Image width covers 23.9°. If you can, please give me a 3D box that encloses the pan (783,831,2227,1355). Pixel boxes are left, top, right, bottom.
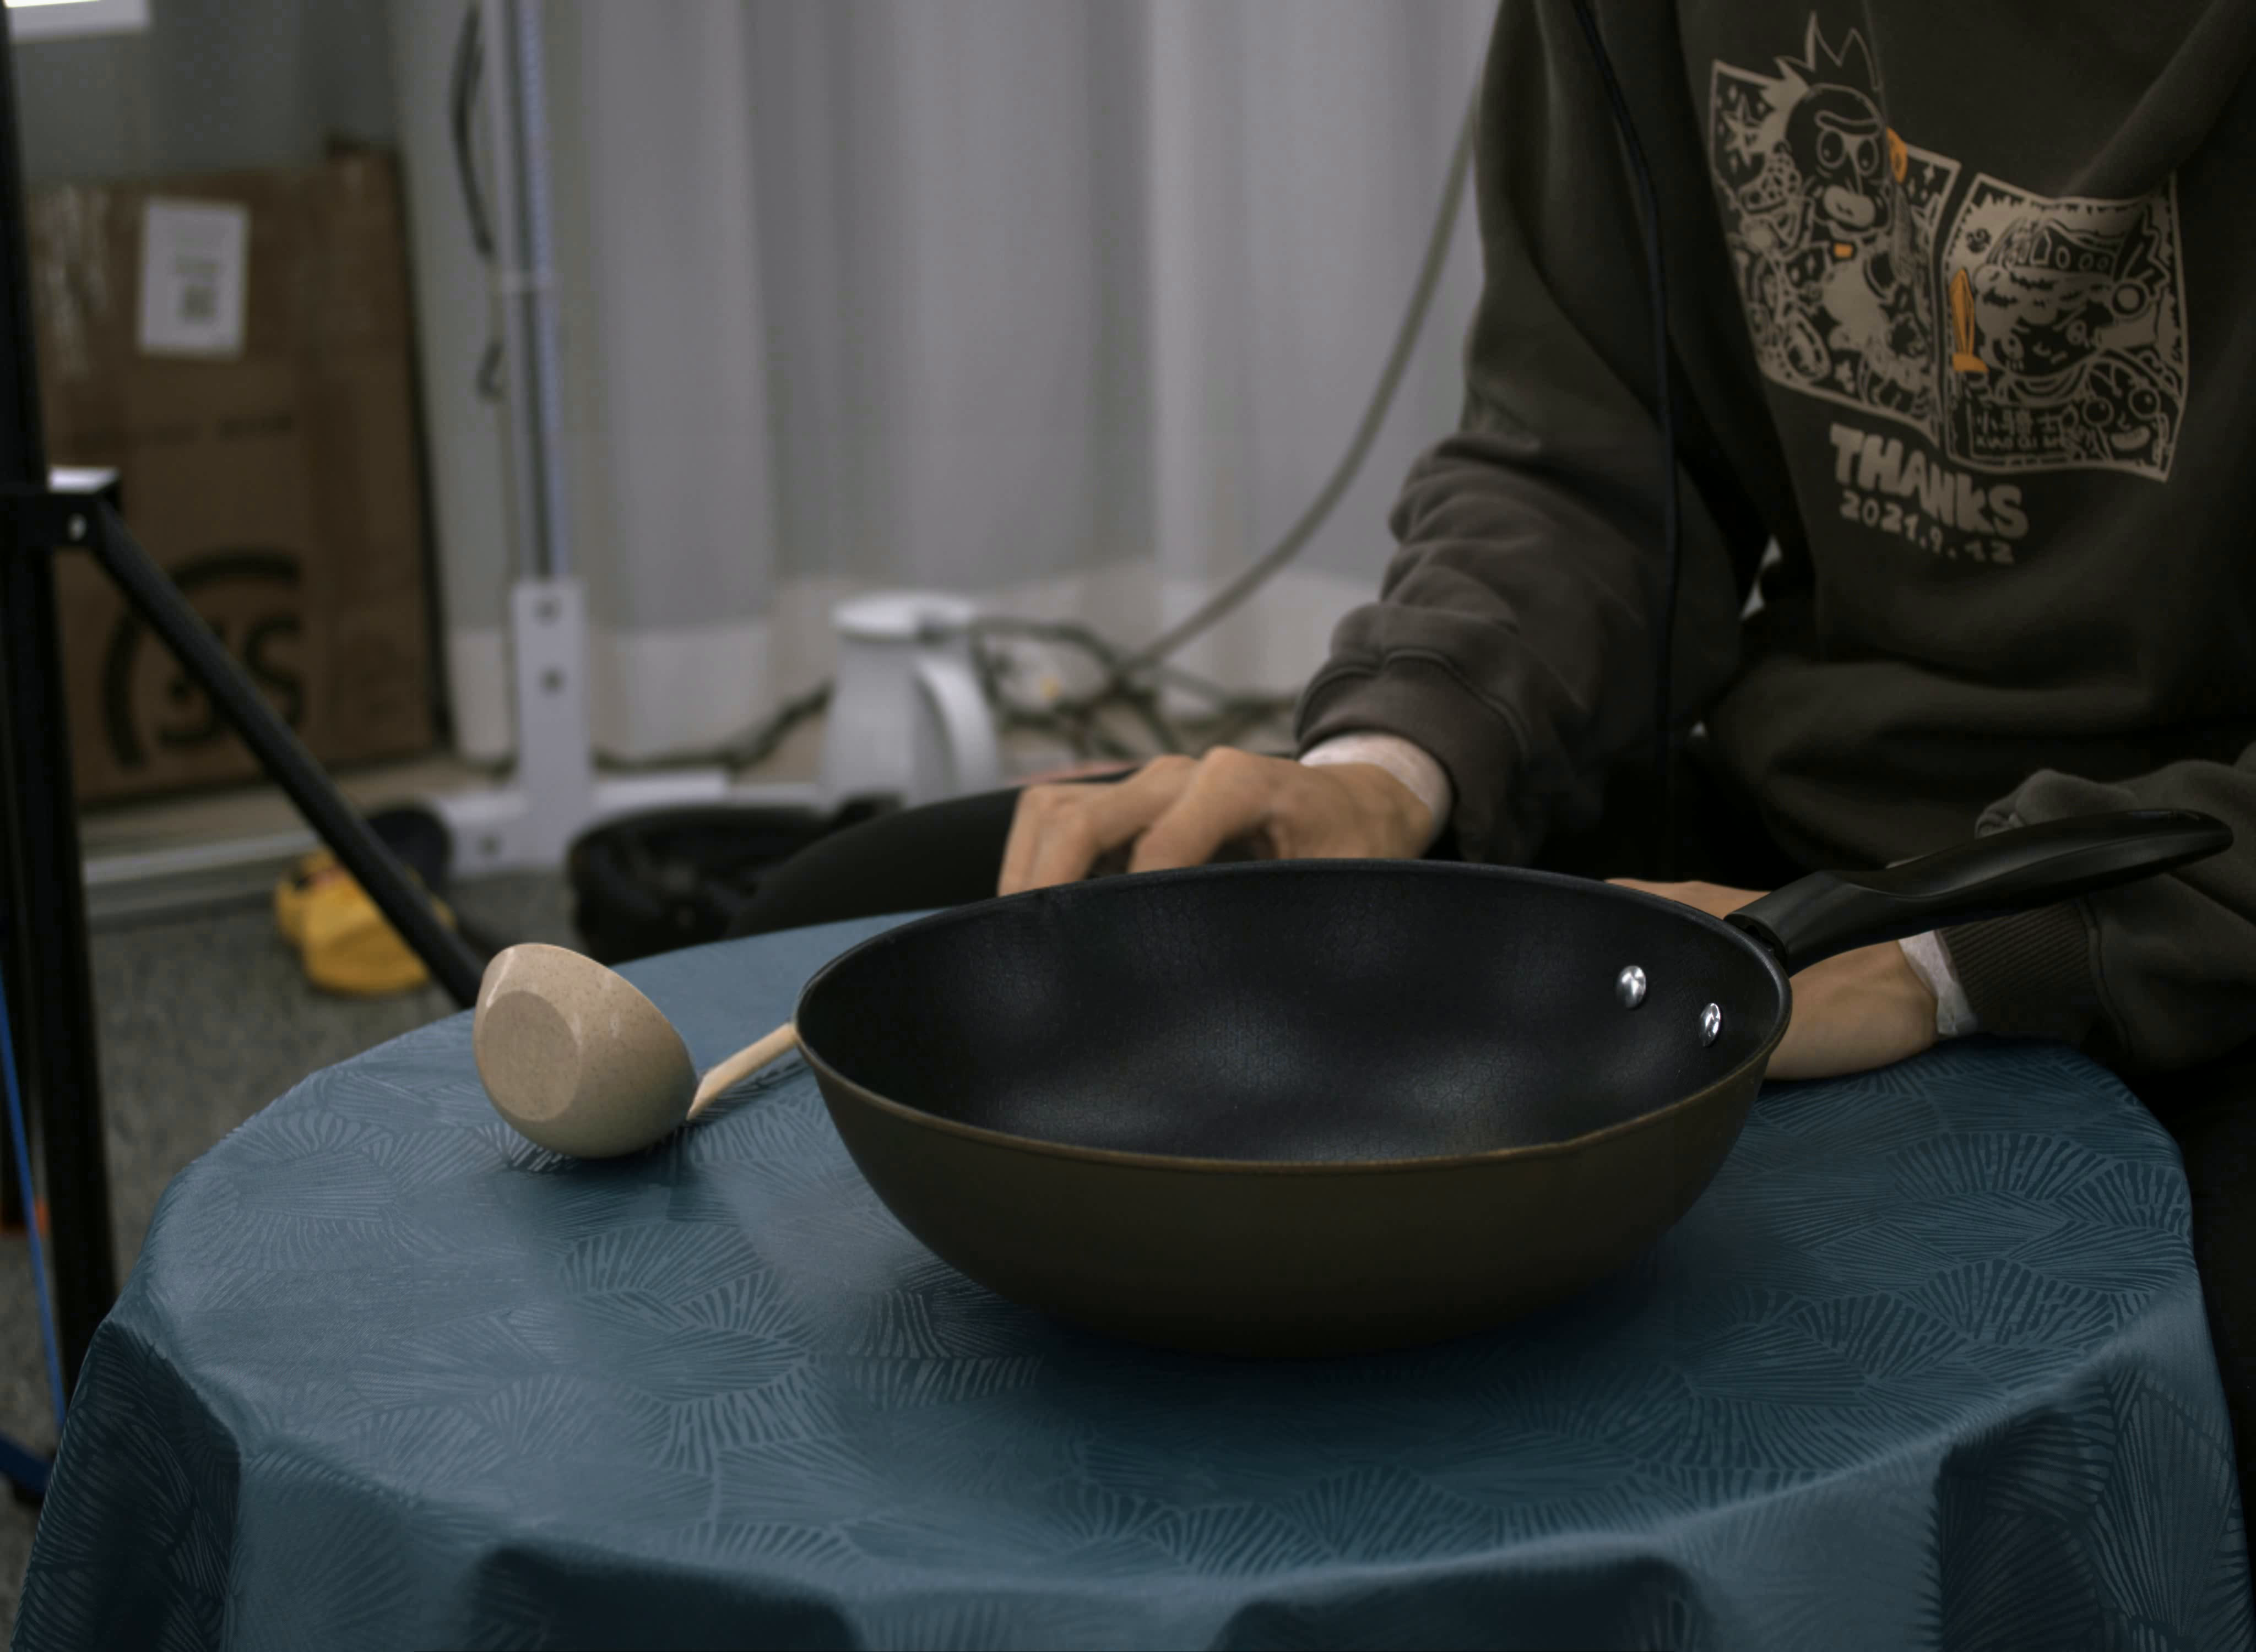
[{"bbox_3d":[0.124,0.070,1.524,0.453,0.087,0.294,-9,17,-25],"label":"pan"}]

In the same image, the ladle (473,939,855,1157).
[{"bbox_3d":[-0.115,0.040,1.690,0.073,0.073,0.250,-5,13,32],"label":"ladle"}]
